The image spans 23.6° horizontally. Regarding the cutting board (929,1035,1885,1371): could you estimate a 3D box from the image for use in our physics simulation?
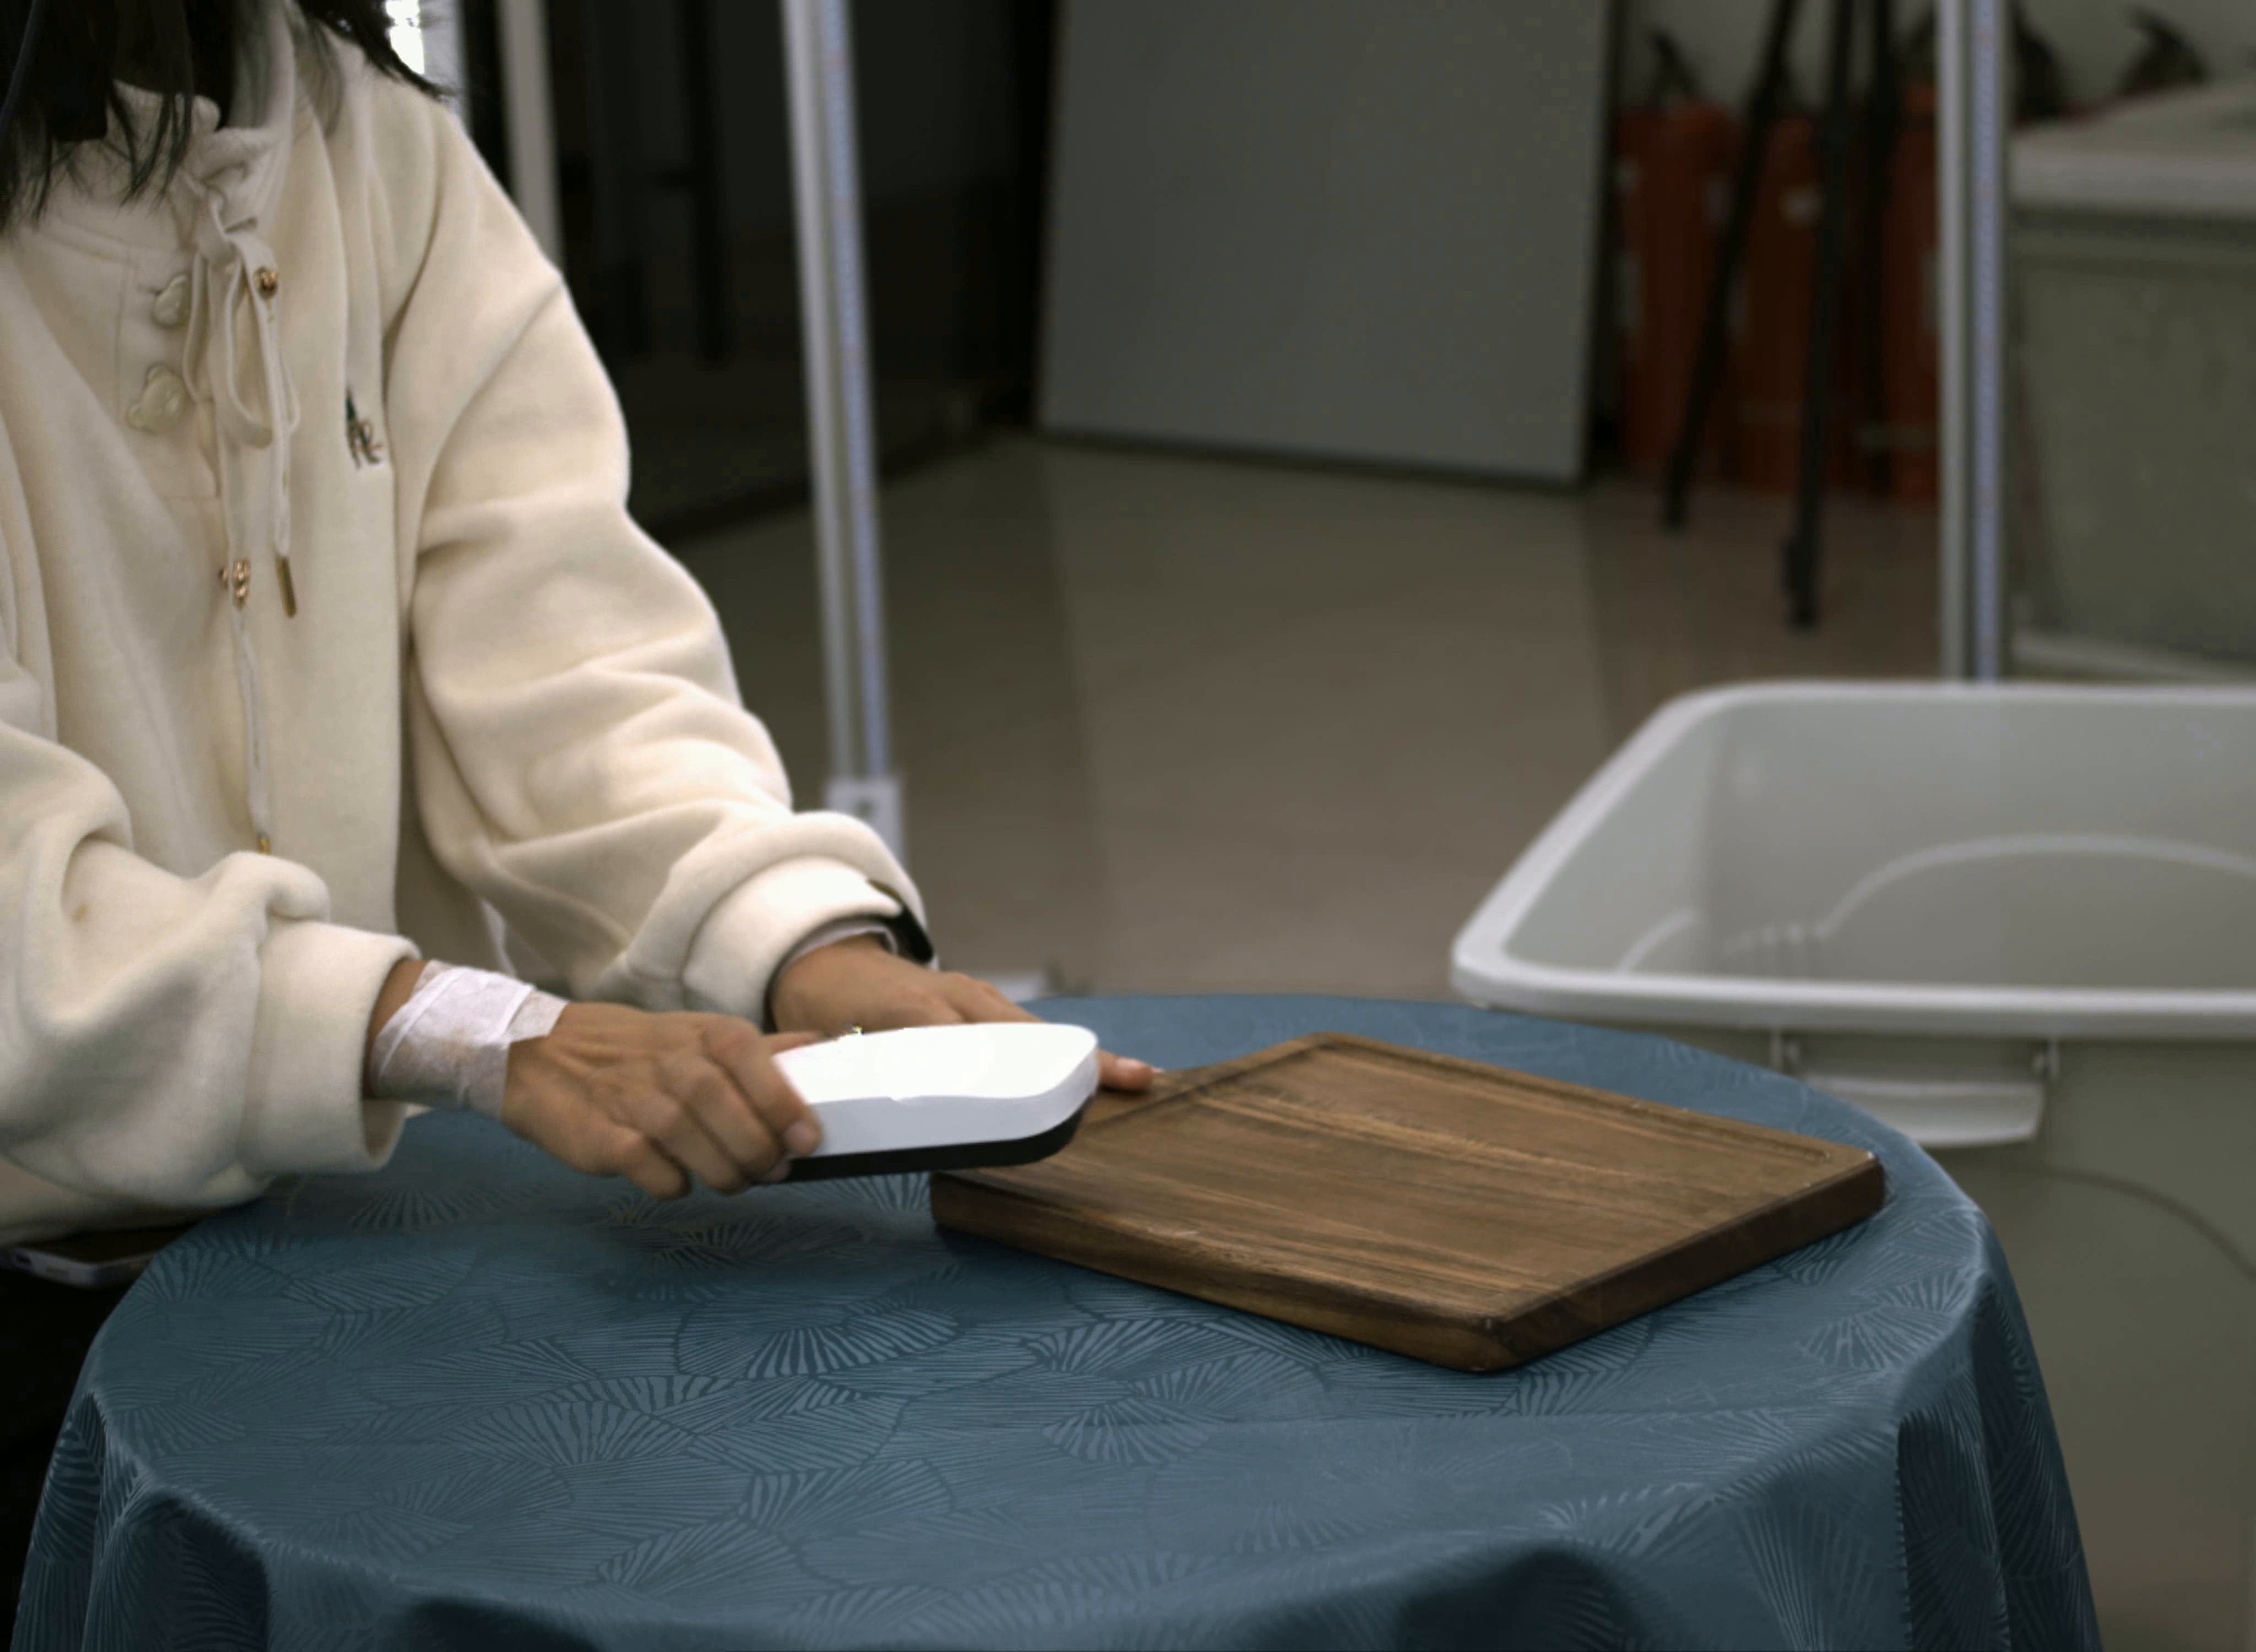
[{"bbox_3d":[0.053,0.110,1.756,0.197,0.023,0.355,-16,18,-42],"label":"cutting board"}]

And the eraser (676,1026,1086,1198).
[{"bbox_3d":[-0.078,0.090,1.722,0.131,0.035,0.063,-6,17,26],"label":"eraser"}]
